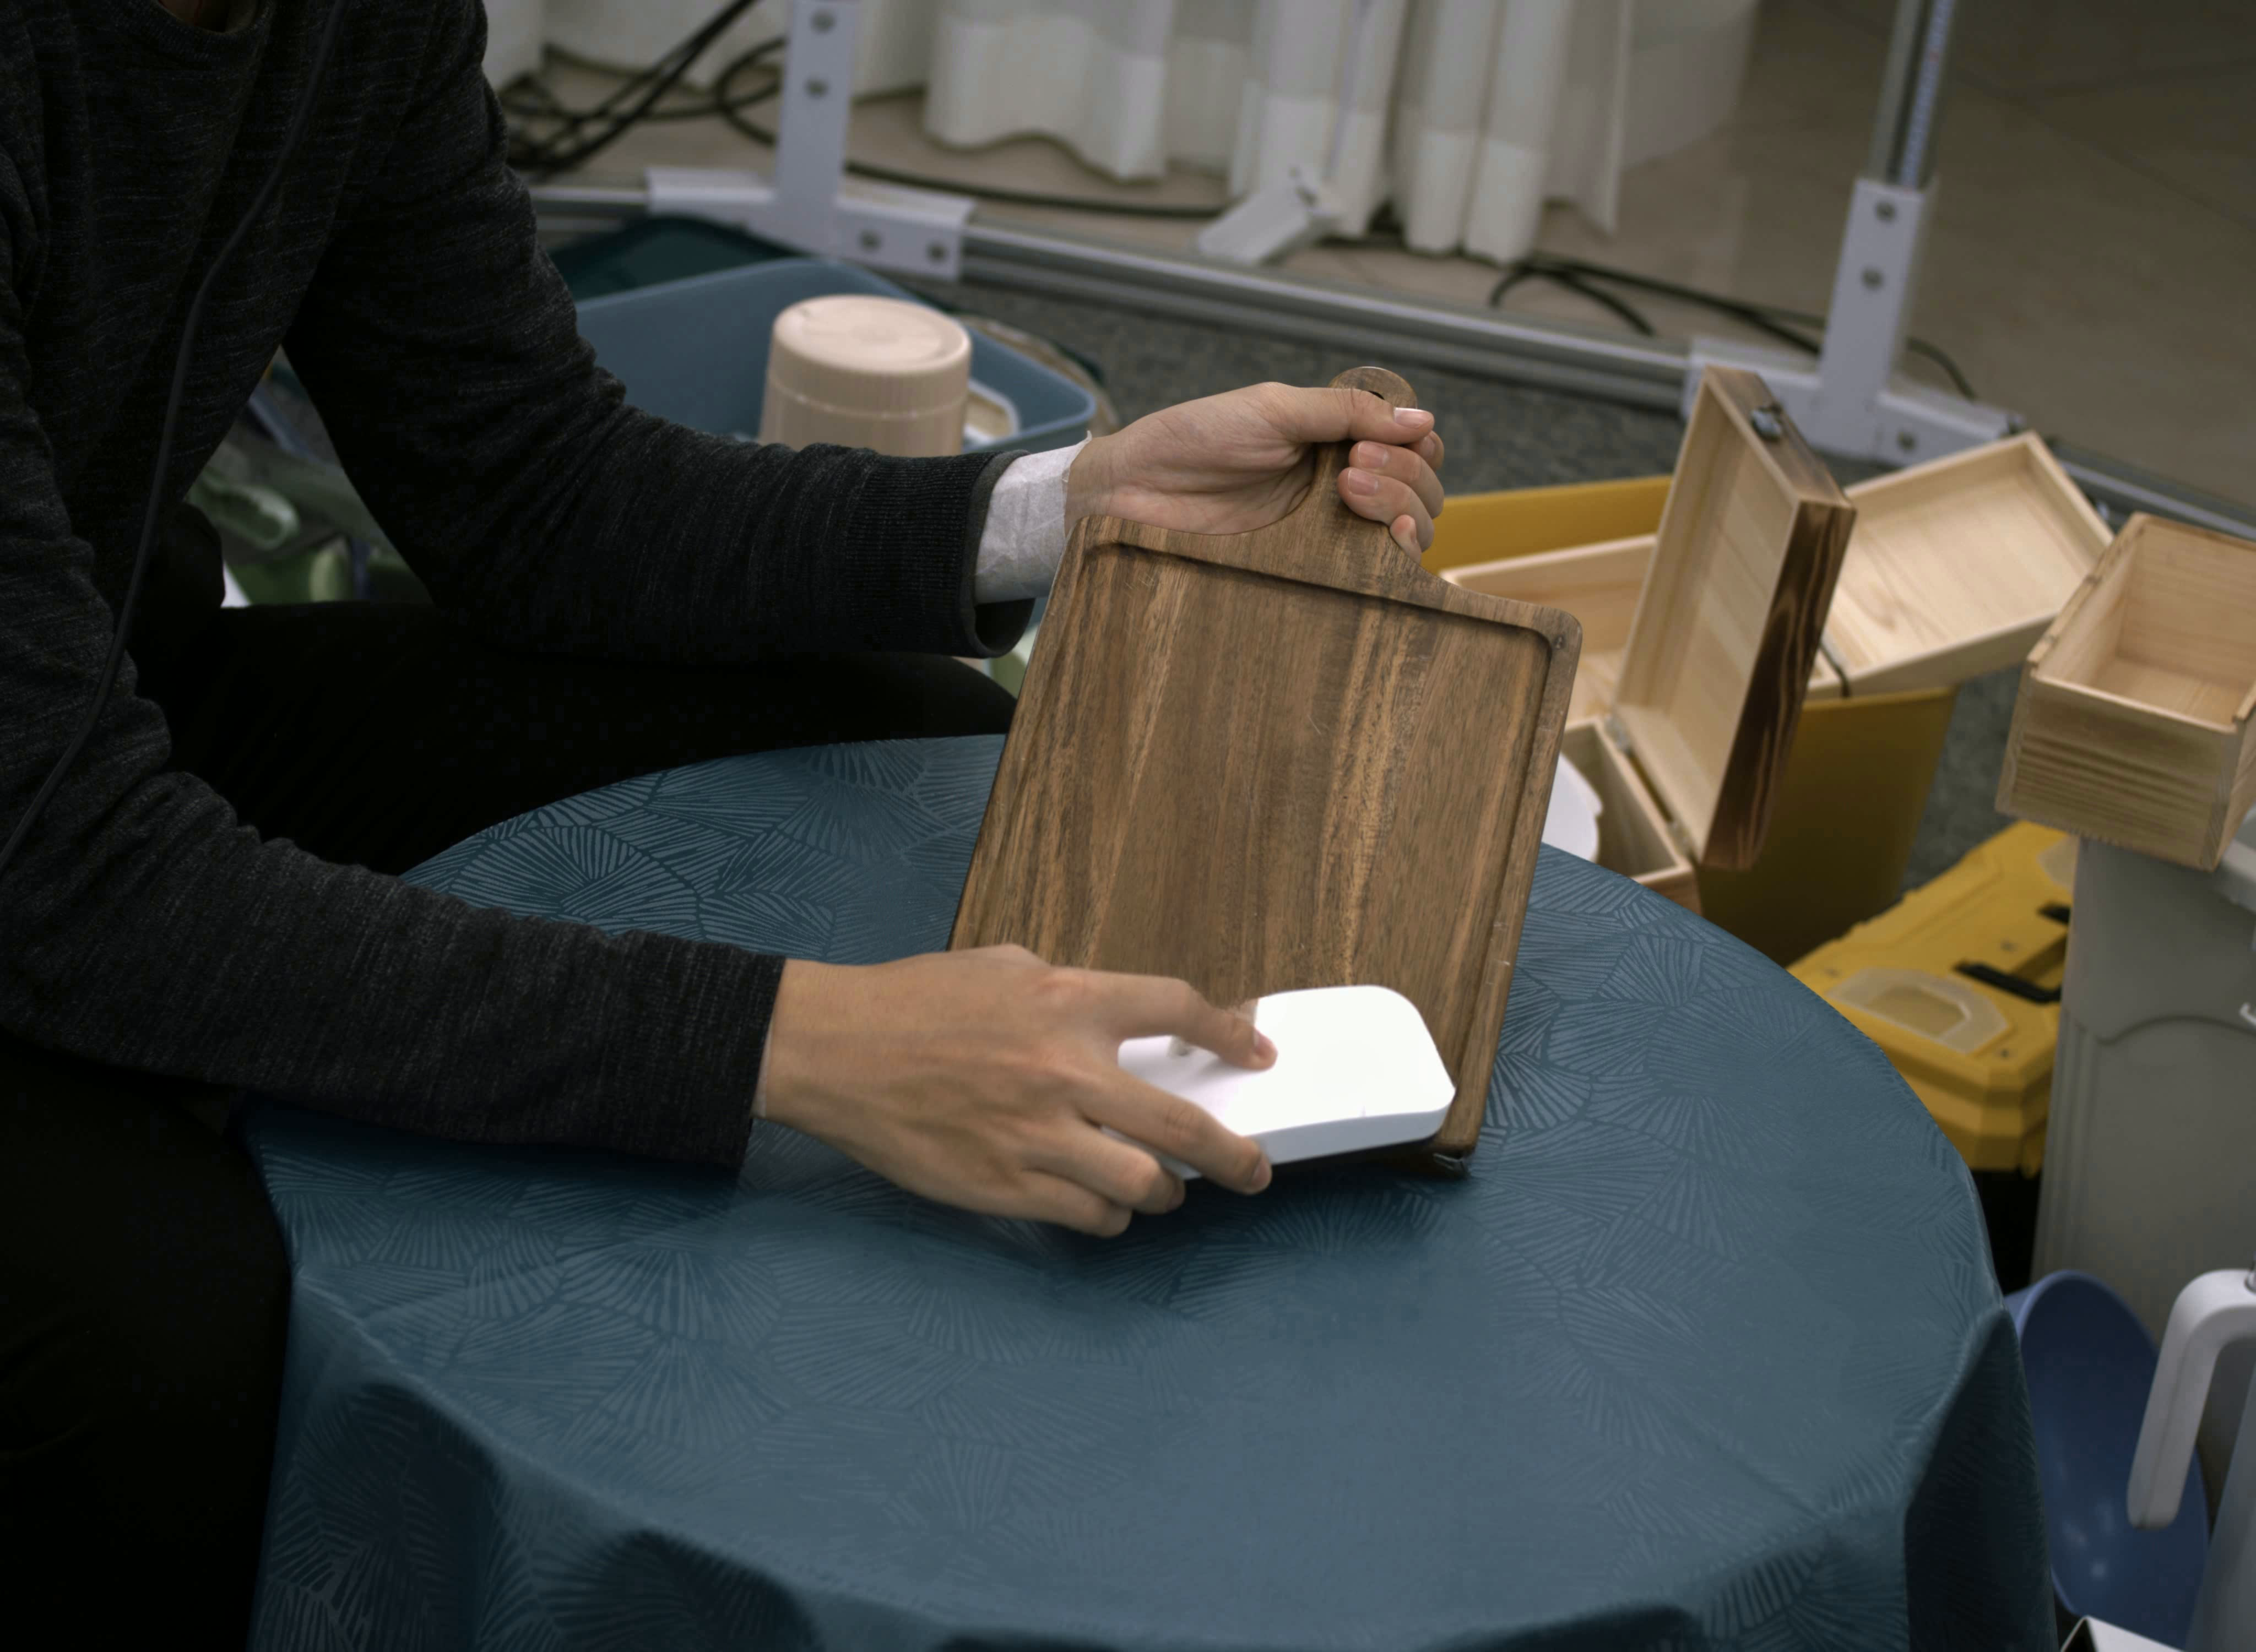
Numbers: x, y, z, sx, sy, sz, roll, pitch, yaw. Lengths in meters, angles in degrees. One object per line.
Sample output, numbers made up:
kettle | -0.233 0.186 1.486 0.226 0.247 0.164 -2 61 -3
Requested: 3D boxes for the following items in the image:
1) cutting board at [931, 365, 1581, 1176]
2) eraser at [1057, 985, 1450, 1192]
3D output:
cutting board | 0.059 -0.035 1.938 0.201 0.023 0.354 11 52 5
eraser | 0.042 0.087 1.807 0.130 0.034 0.064 -6 46 -18
